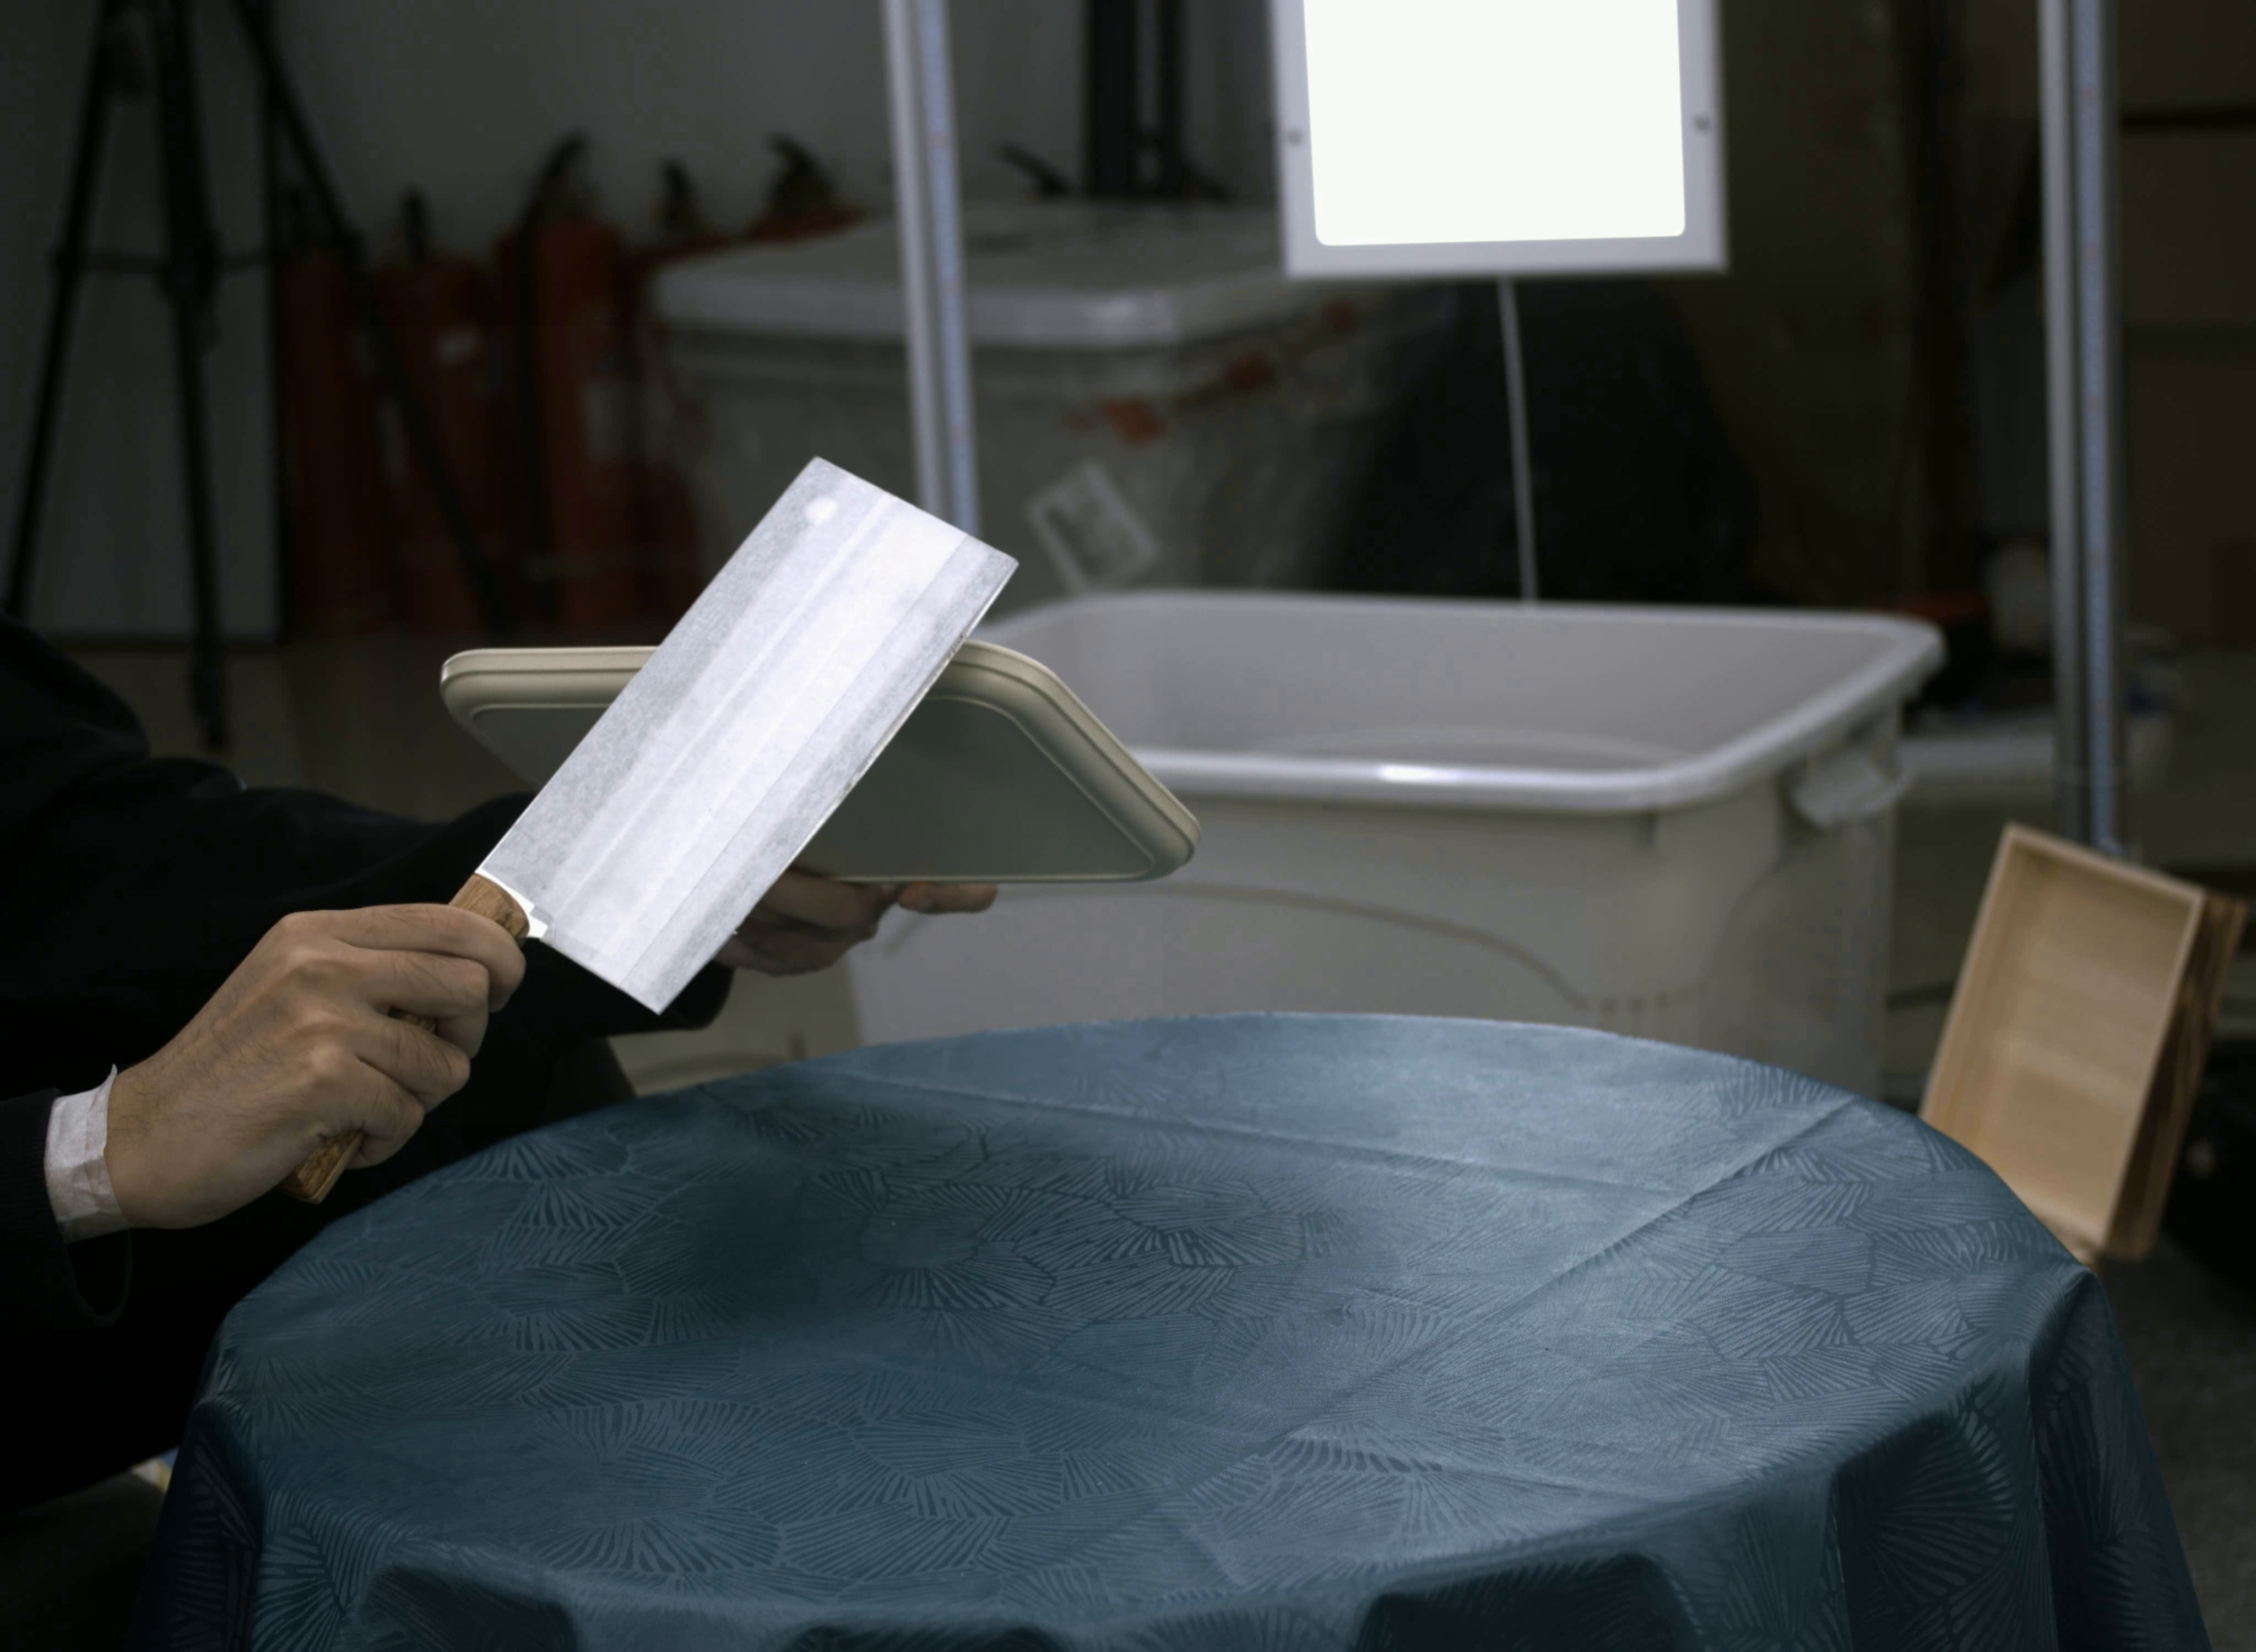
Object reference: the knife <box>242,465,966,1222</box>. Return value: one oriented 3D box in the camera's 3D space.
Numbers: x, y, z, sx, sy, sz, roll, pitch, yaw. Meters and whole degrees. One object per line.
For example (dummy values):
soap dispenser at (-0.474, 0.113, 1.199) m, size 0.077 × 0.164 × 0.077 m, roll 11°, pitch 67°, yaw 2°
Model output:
knife at (-0.159, 0.012, 1.749) m, size 0.094 × 0.021 × 0.303 m, roll 29°, pitch 74°, yaw 30°

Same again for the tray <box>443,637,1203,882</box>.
tray at (-0.106, -0.018, 1.889) m, size 0.244 × 0.017 × 0.169 m, roll 0°, pitch -25°, yaw 29°
